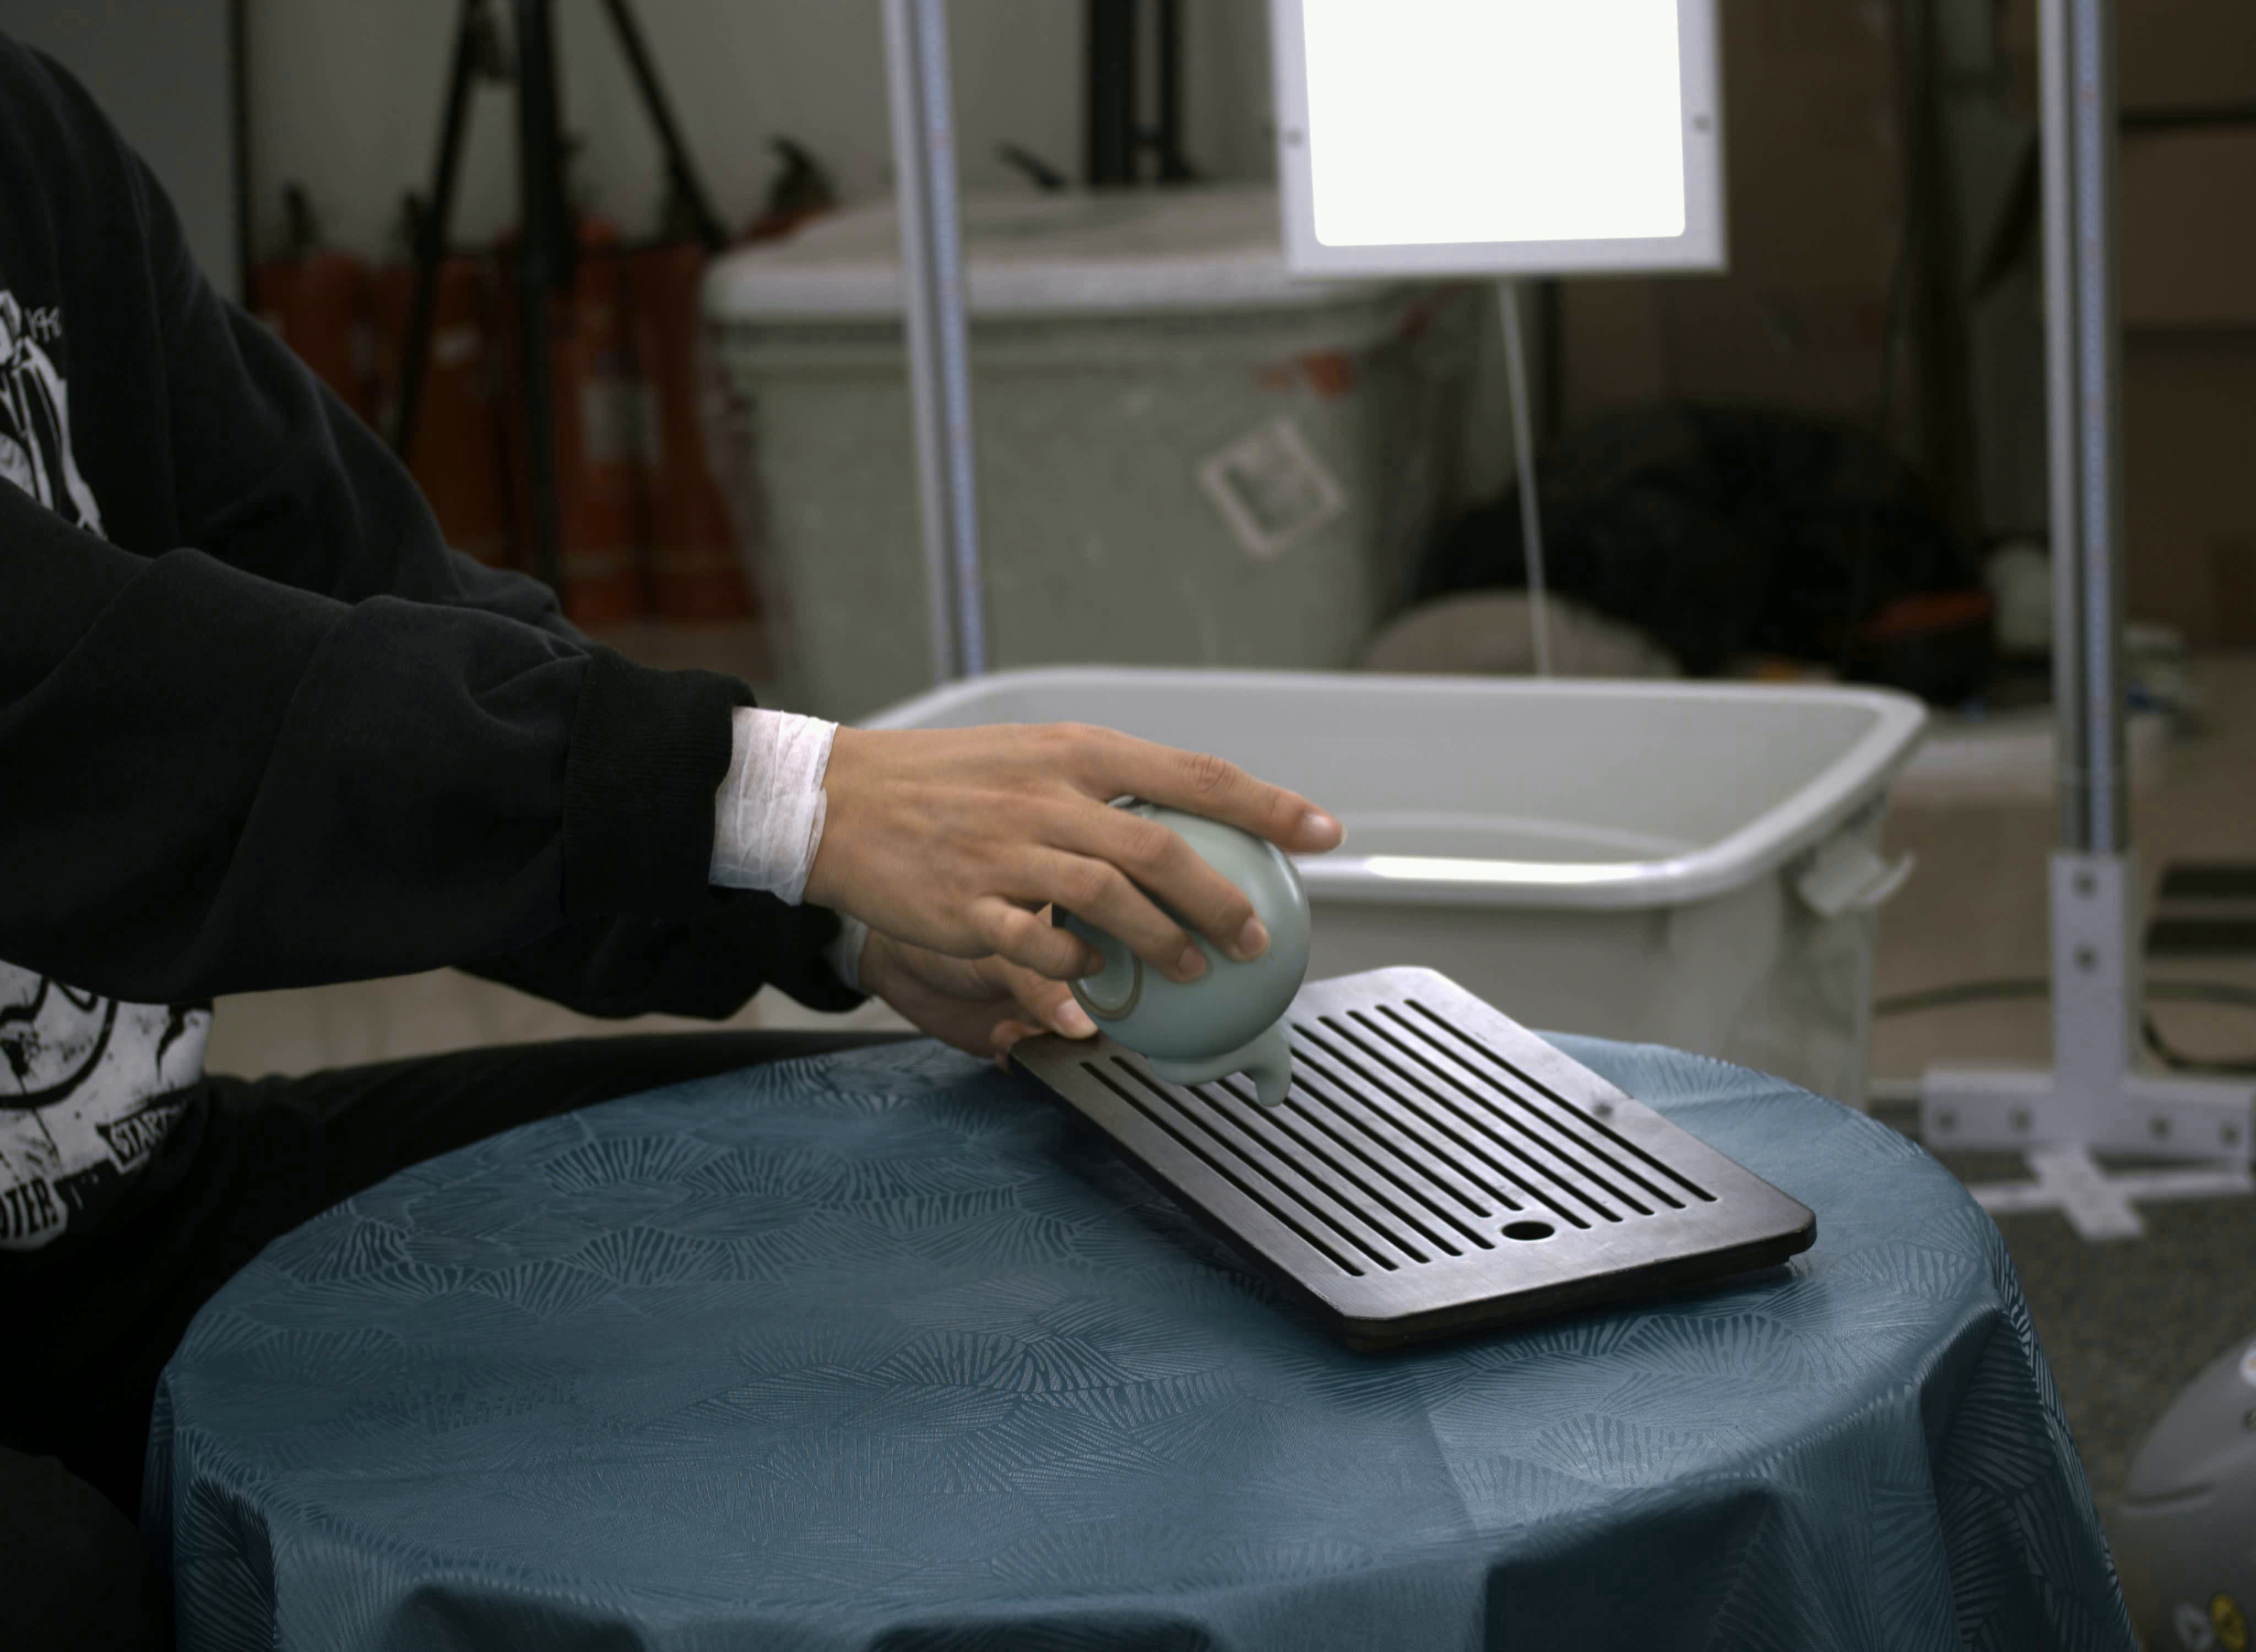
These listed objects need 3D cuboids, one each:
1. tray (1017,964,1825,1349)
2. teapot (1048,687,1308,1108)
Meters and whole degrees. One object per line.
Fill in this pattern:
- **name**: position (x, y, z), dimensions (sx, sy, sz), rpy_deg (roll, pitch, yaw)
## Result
- **tray**: position (0.093, 0.108, 1.863), dimensions (0.167, 0.019, 0.310), rpy_deg (-11, 18, -20)
- **teapot**: position (0.017, 0.029, 1.763), dimensions (0.073, 0.144, 0.090), rpy_deg (-16, 17, -36)
